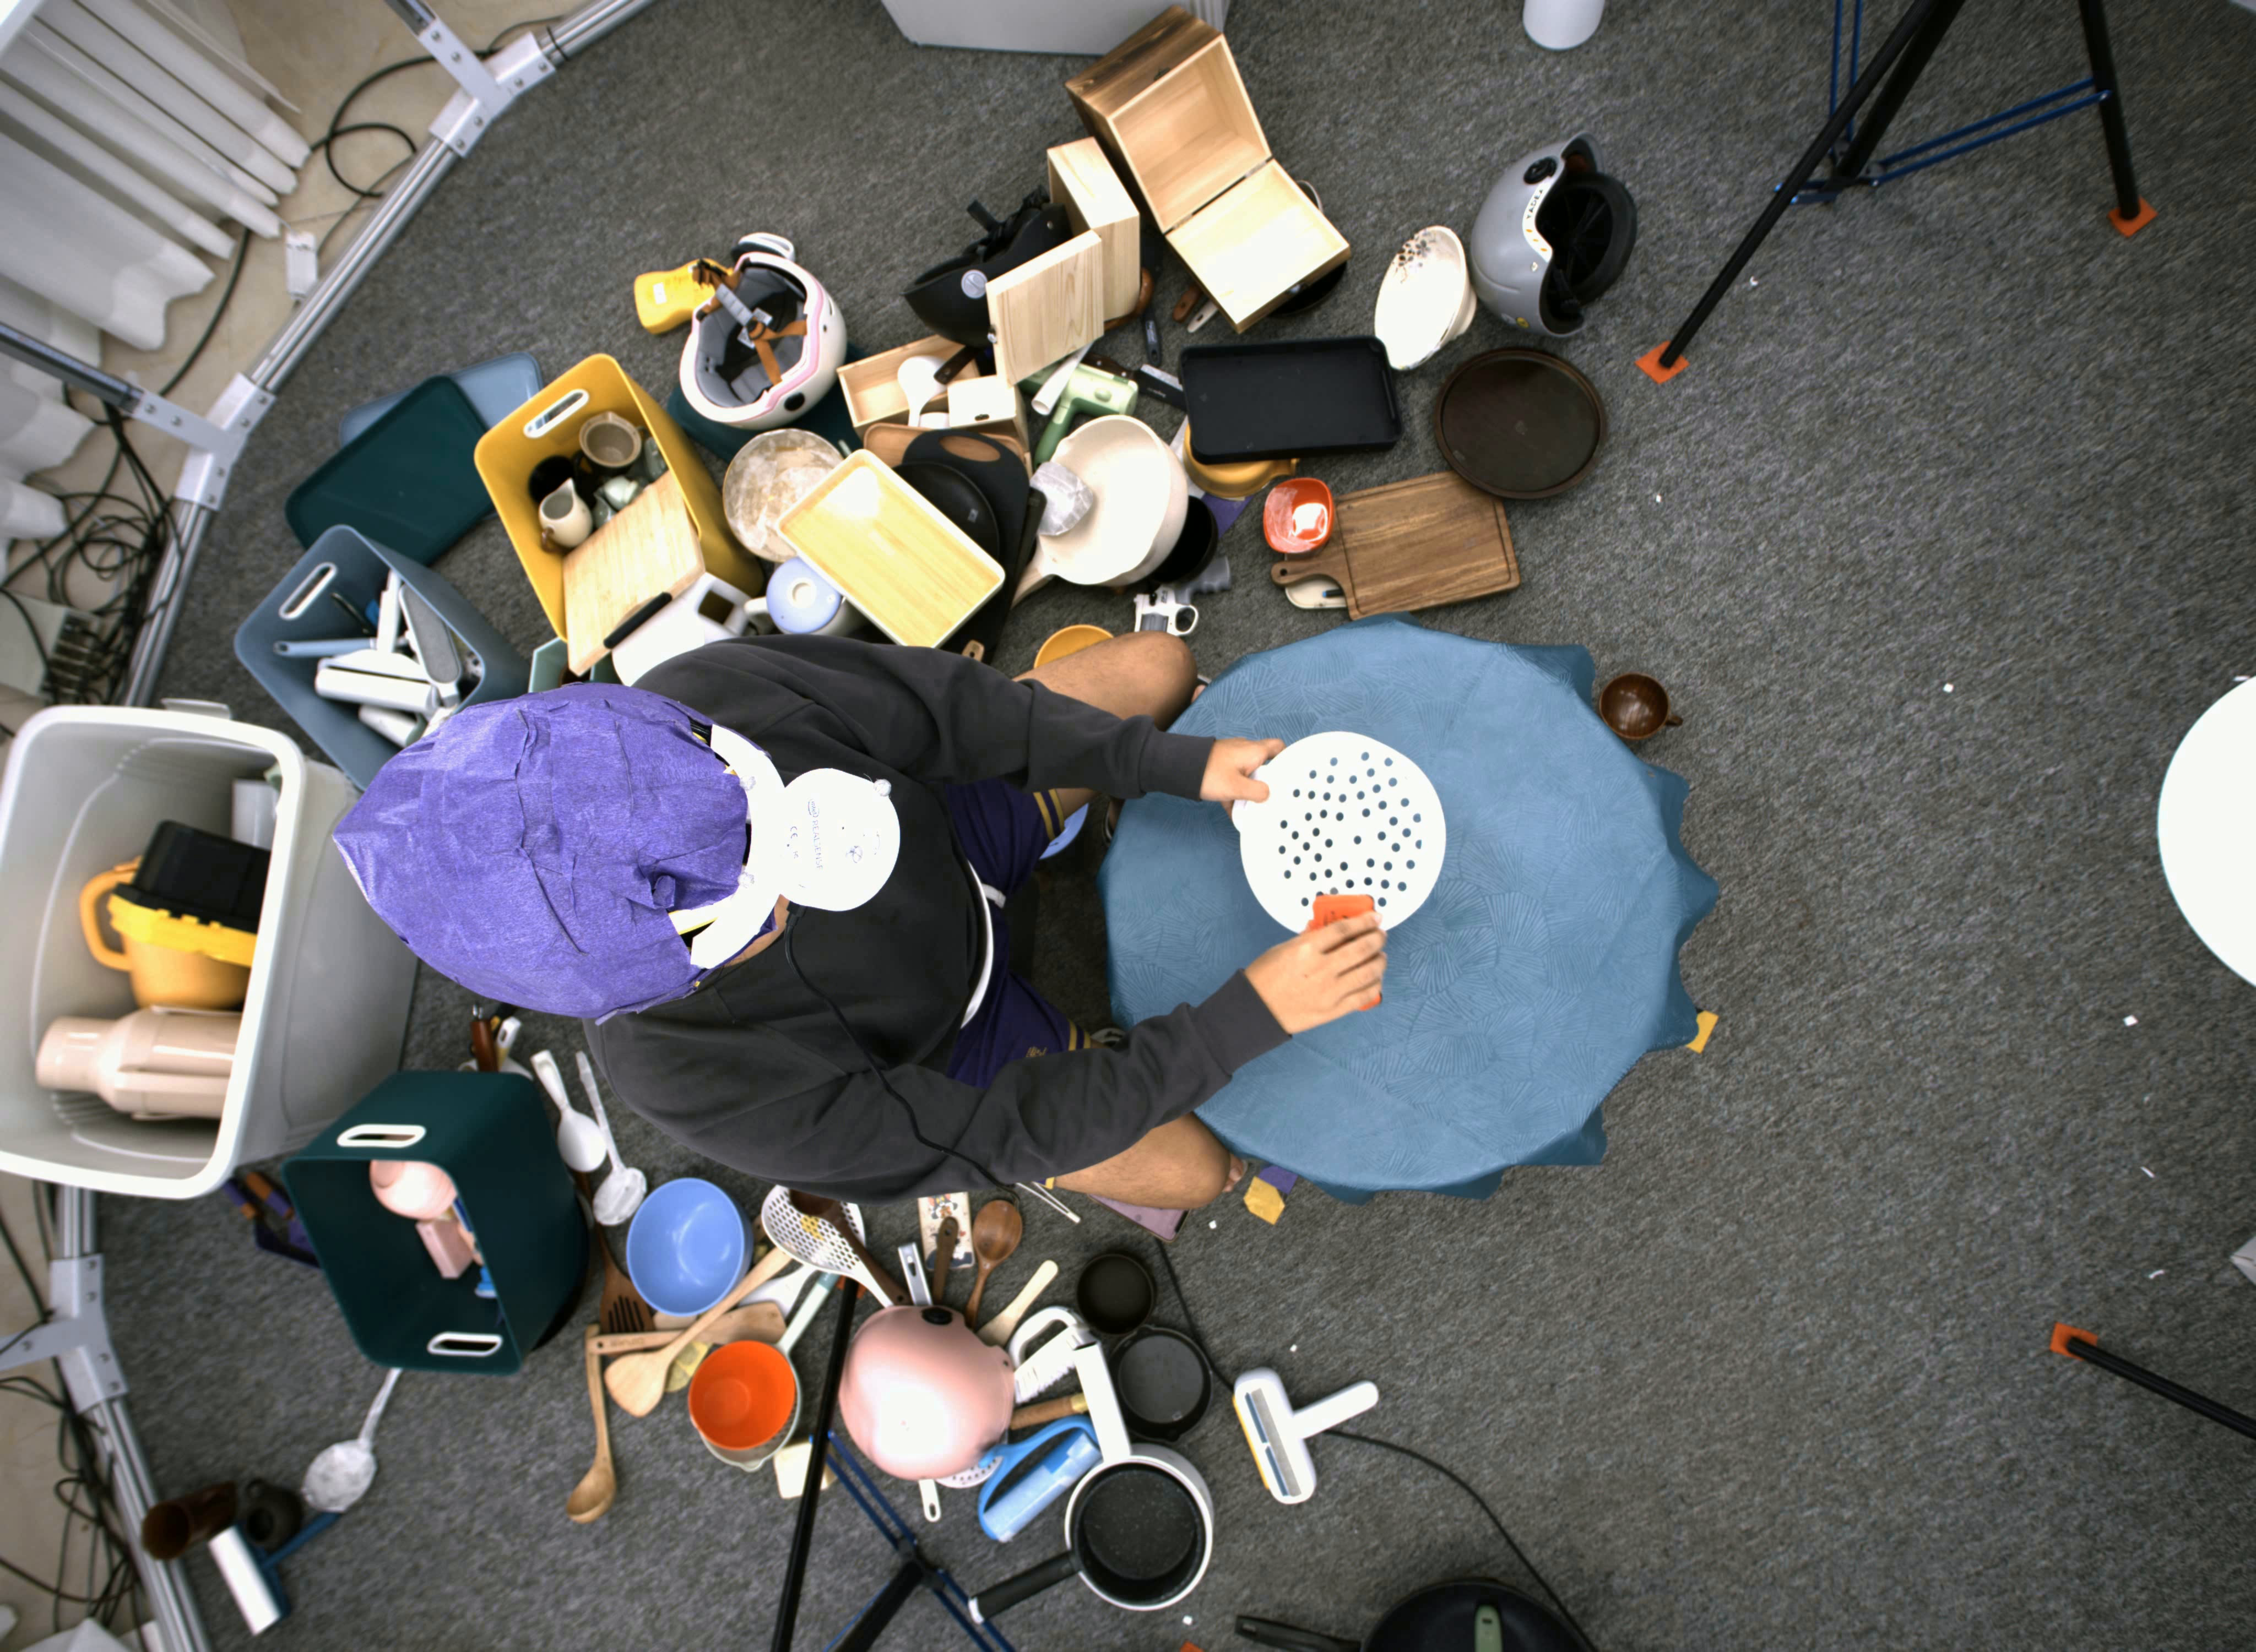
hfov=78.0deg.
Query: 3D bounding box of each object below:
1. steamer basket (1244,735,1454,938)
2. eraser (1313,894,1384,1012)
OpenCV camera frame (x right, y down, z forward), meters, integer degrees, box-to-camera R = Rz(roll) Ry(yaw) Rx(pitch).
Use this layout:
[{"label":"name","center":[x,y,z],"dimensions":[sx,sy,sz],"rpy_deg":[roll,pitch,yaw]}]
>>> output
[{"label":"steamer basket","center":[0.221,0.013,1.353],"dimensions":[0.229,0.069,0.204],"rpy_deg":[28,107,36]},{"label":"eraser","center":[0.206,0.118,1.294],"dimensions":[0.059,0.022,0.108],"rpy_deg":[-3,93,38]}]
